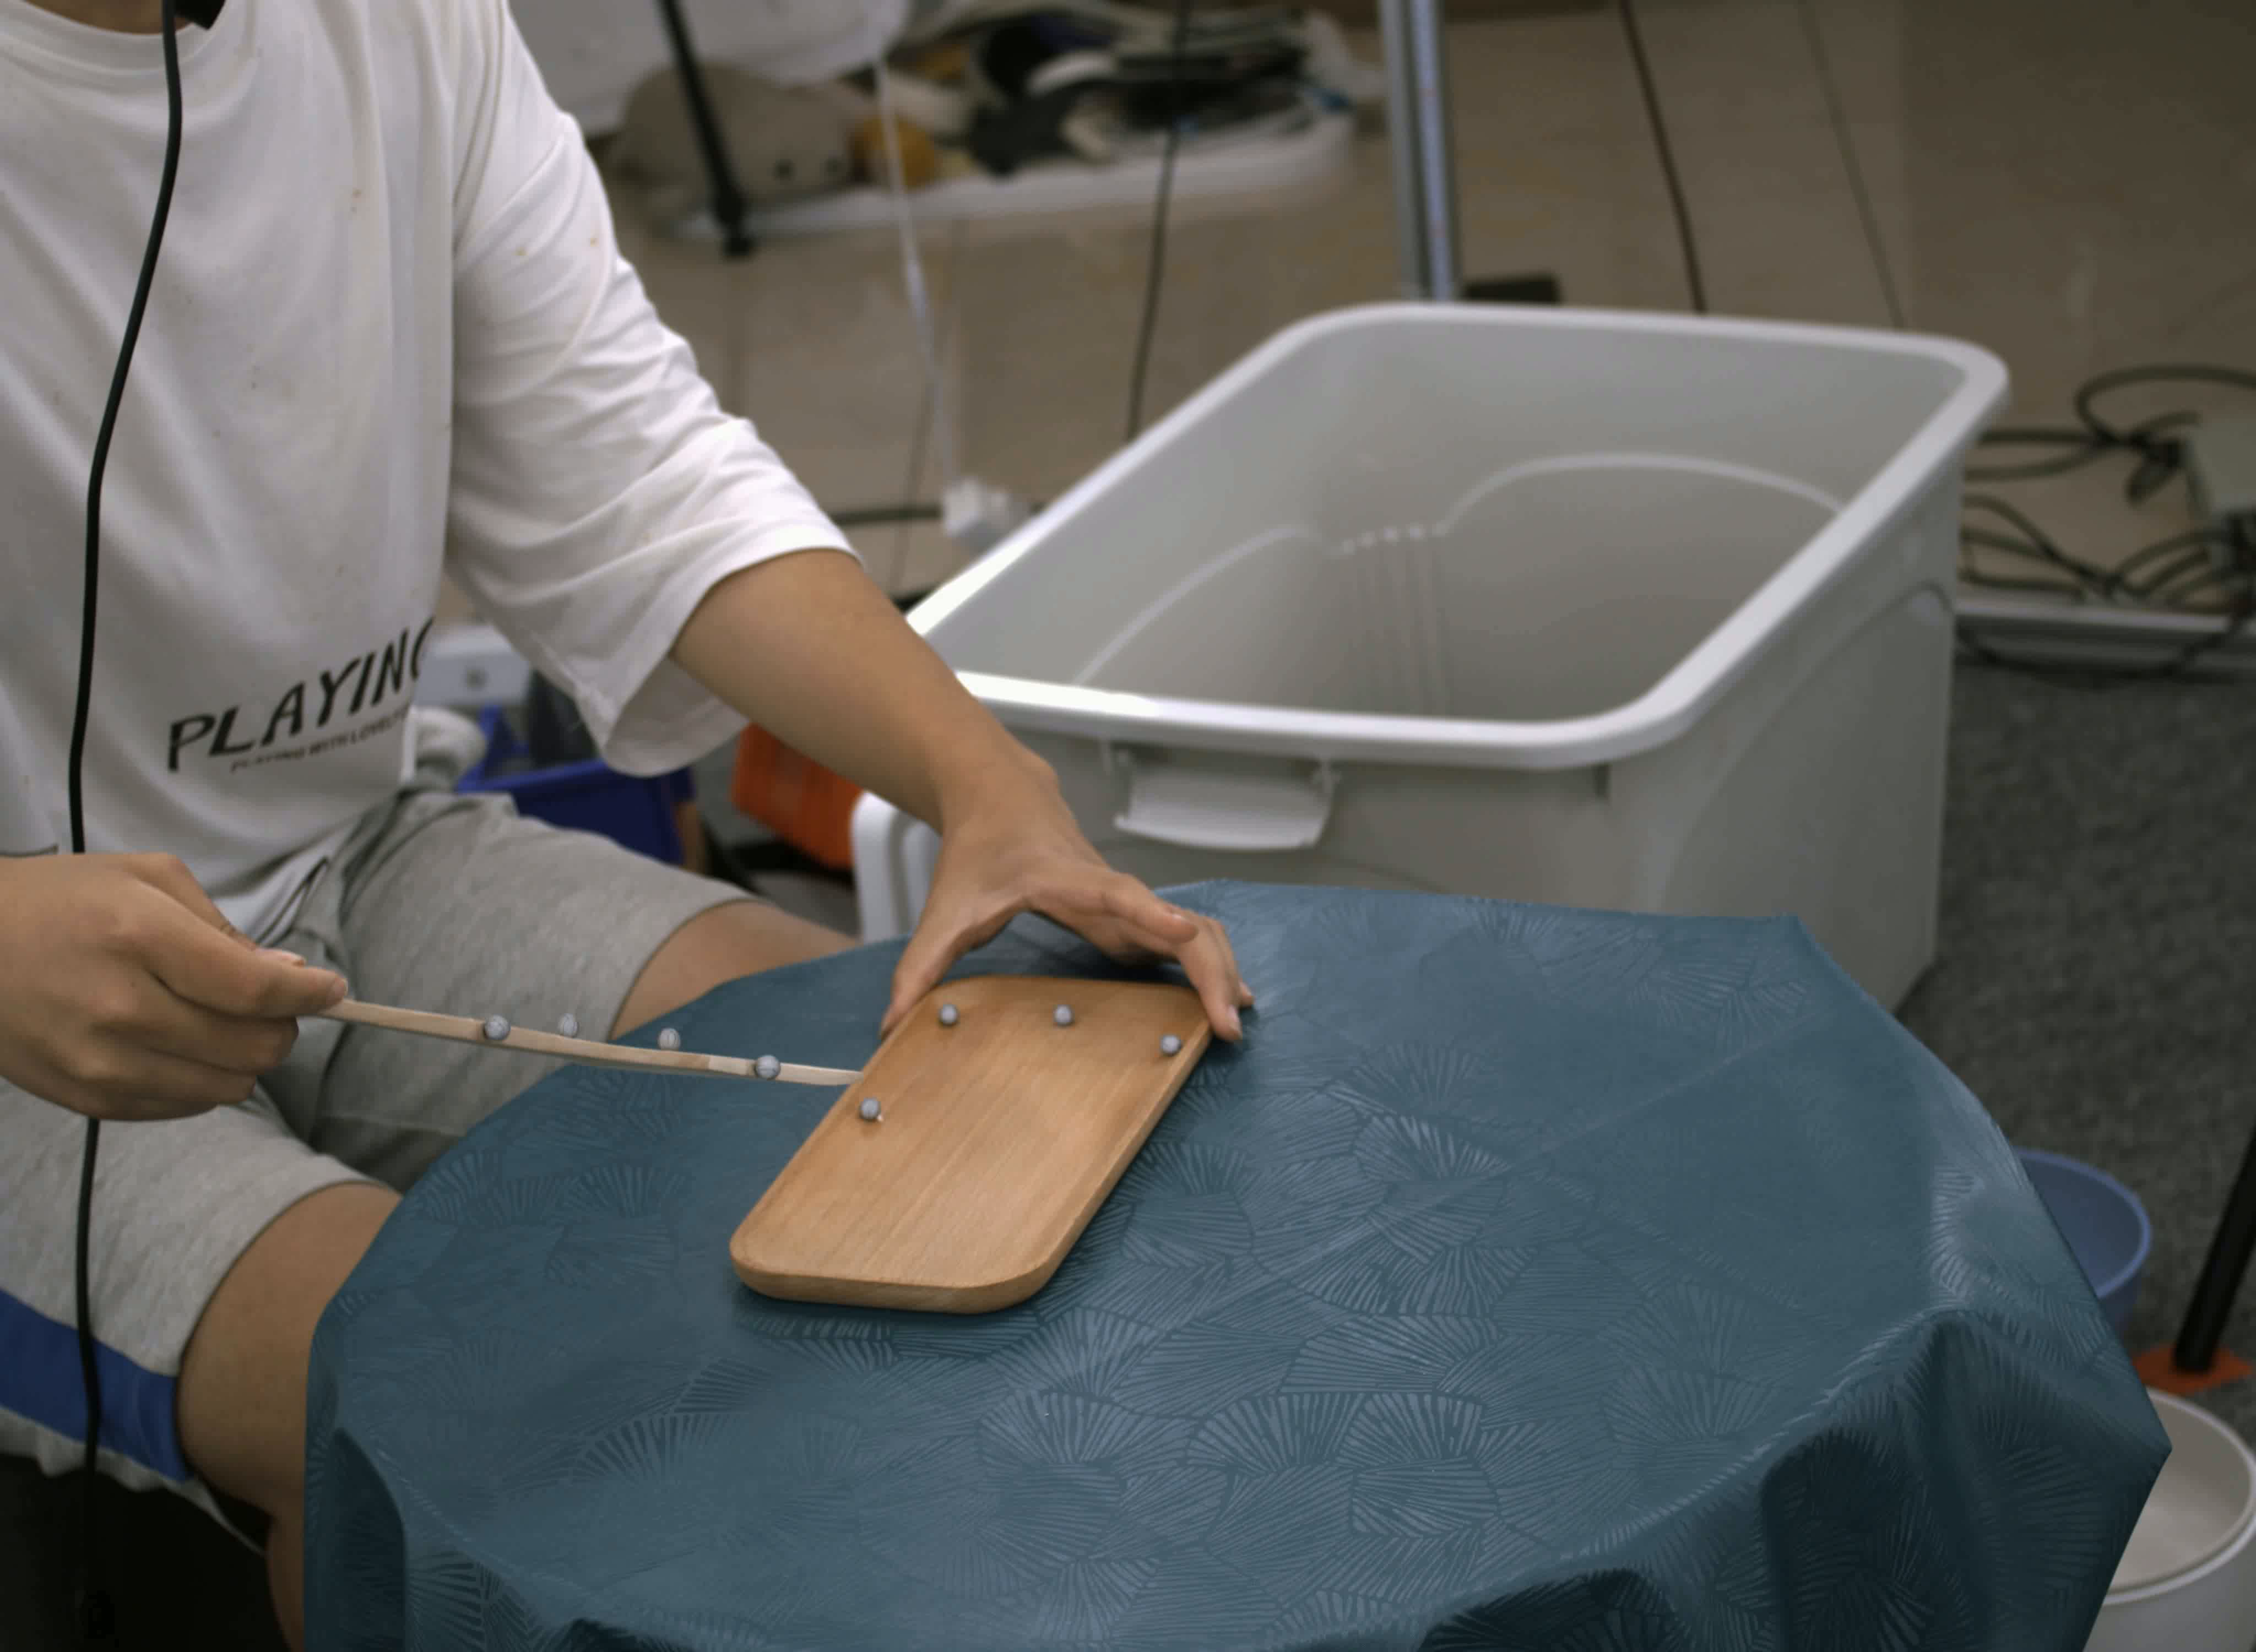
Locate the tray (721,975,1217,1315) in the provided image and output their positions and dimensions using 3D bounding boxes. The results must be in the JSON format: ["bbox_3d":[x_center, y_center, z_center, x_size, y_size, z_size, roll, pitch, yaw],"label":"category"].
[{"bbox_3d":[-0.058,0.121,2.183,0.130,0.023,0.247,1,26,22],"label":"tray"}]

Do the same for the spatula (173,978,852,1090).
[{"bbox_3d":[-0.212,0.073,1.943,0.072,0.010,0.294,3,-6,39],"label":"spatula"}]
